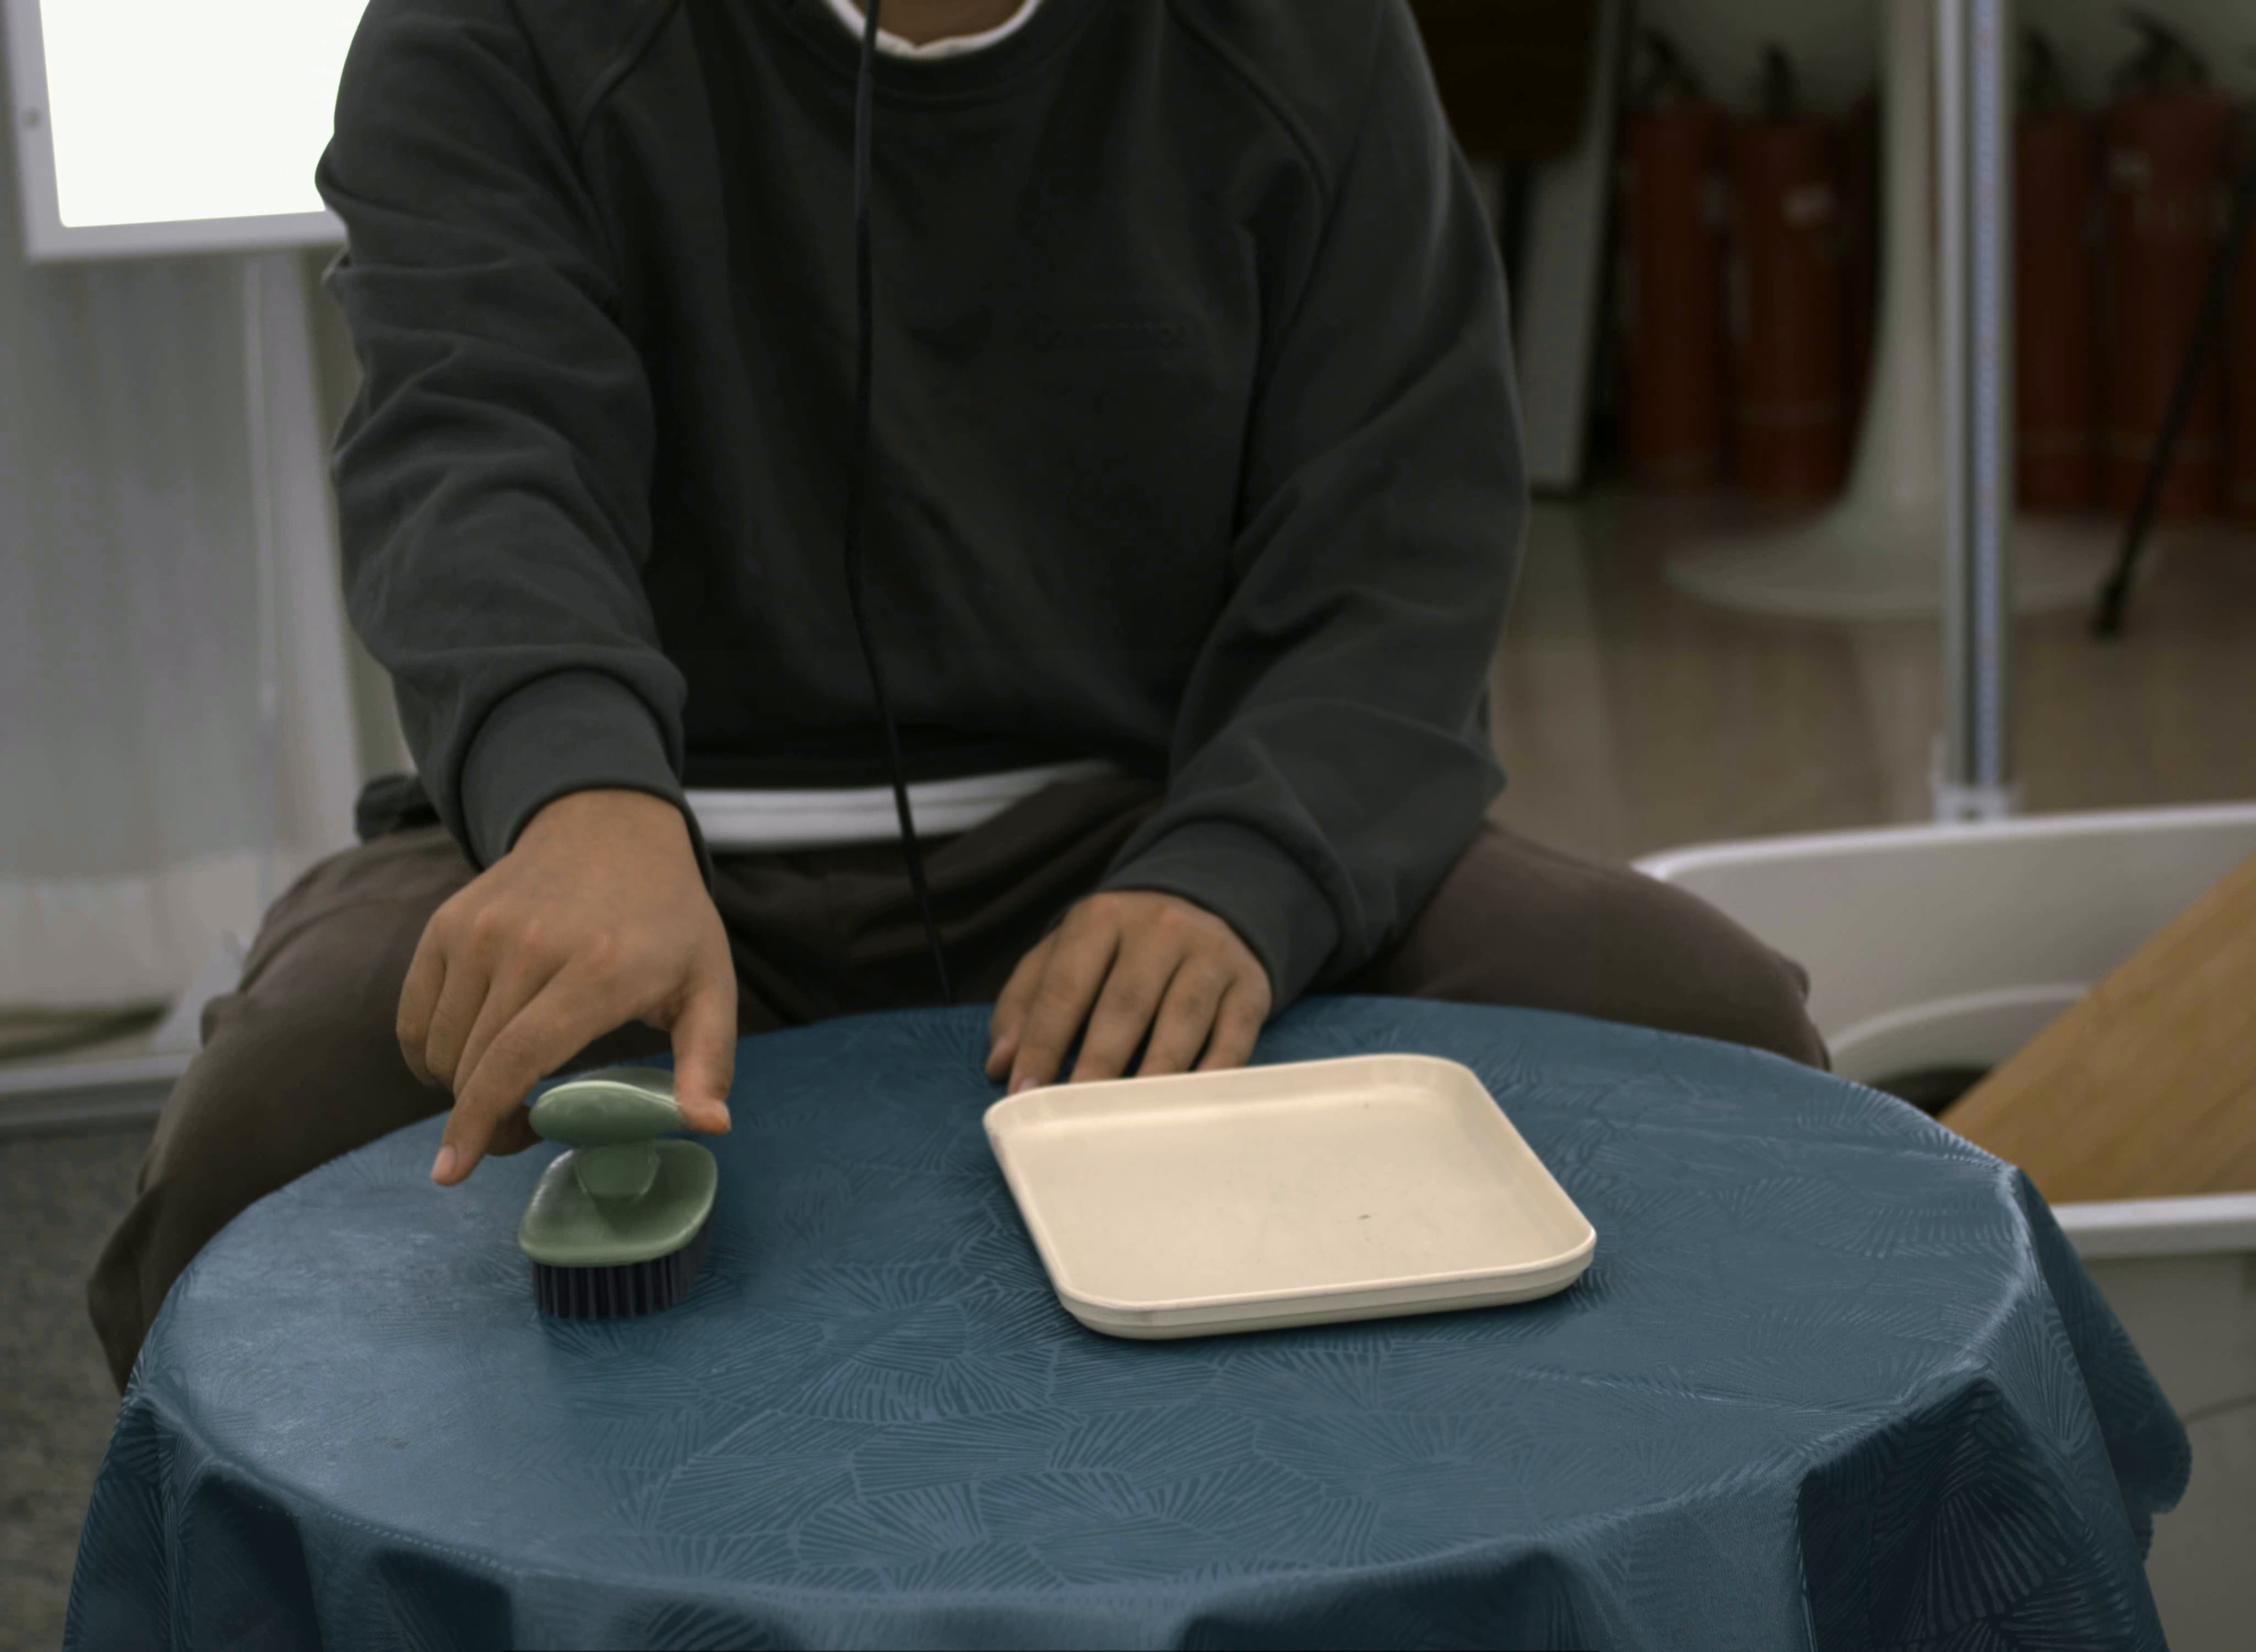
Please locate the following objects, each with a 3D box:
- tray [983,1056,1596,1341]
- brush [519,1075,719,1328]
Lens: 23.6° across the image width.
[{"bbox_3d":[0.048,0.119,1.733,0.168,0.017,0.241,-5,14,-7],"label":"tray"},{"bbox_3d":[-0.162,0.118,1.725,0.059,0.077,0.123,-2,0,2],"label":"brush"}]
